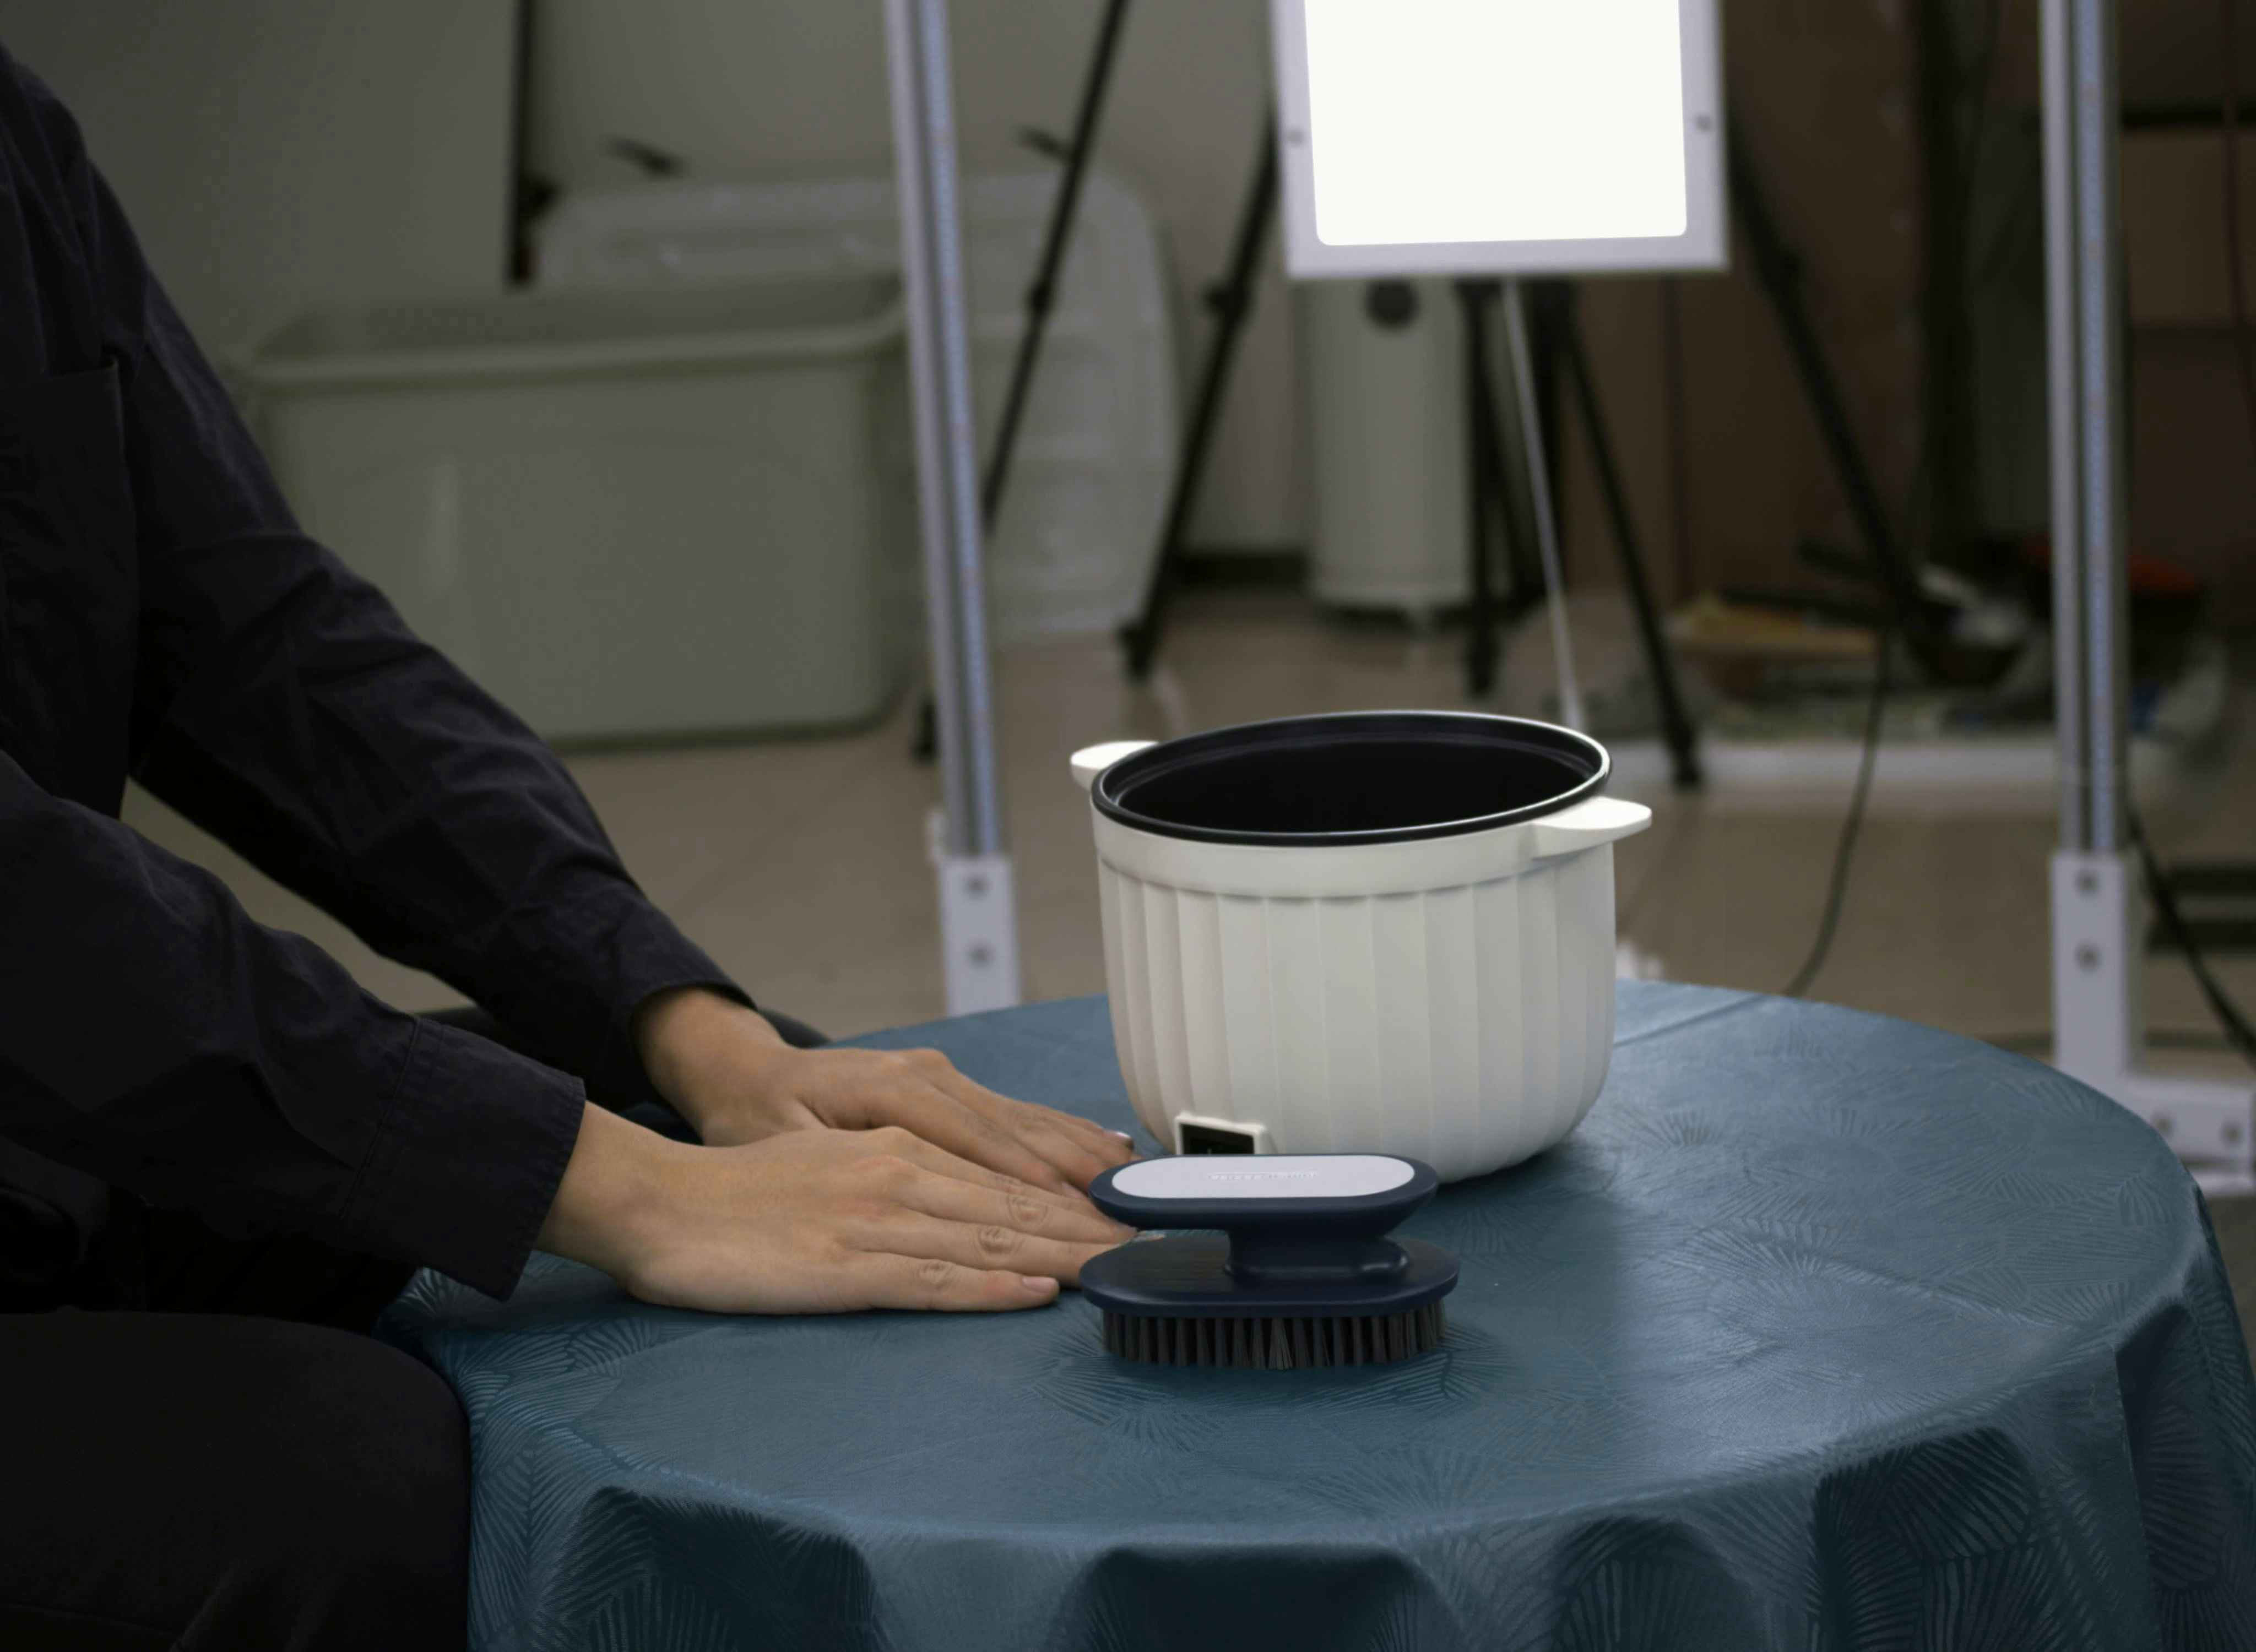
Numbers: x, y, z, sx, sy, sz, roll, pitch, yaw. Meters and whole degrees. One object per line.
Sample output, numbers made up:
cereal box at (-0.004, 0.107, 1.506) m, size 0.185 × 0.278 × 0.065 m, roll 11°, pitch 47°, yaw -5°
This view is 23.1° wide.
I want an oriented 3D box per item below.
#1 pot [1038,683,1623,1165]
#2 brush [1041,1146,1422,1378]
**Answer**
pot at (0.074, 0.034, 1.927) m, size 0.245 × 0.143 × 0.186 m, roll 8°, pitch 21°, yaw 38°
brush at (0.032, 0.138, 1.729) m, size 0.123 × 0.061 × 0.067 m, roll 3°, pitch 18°, yaw 16°
